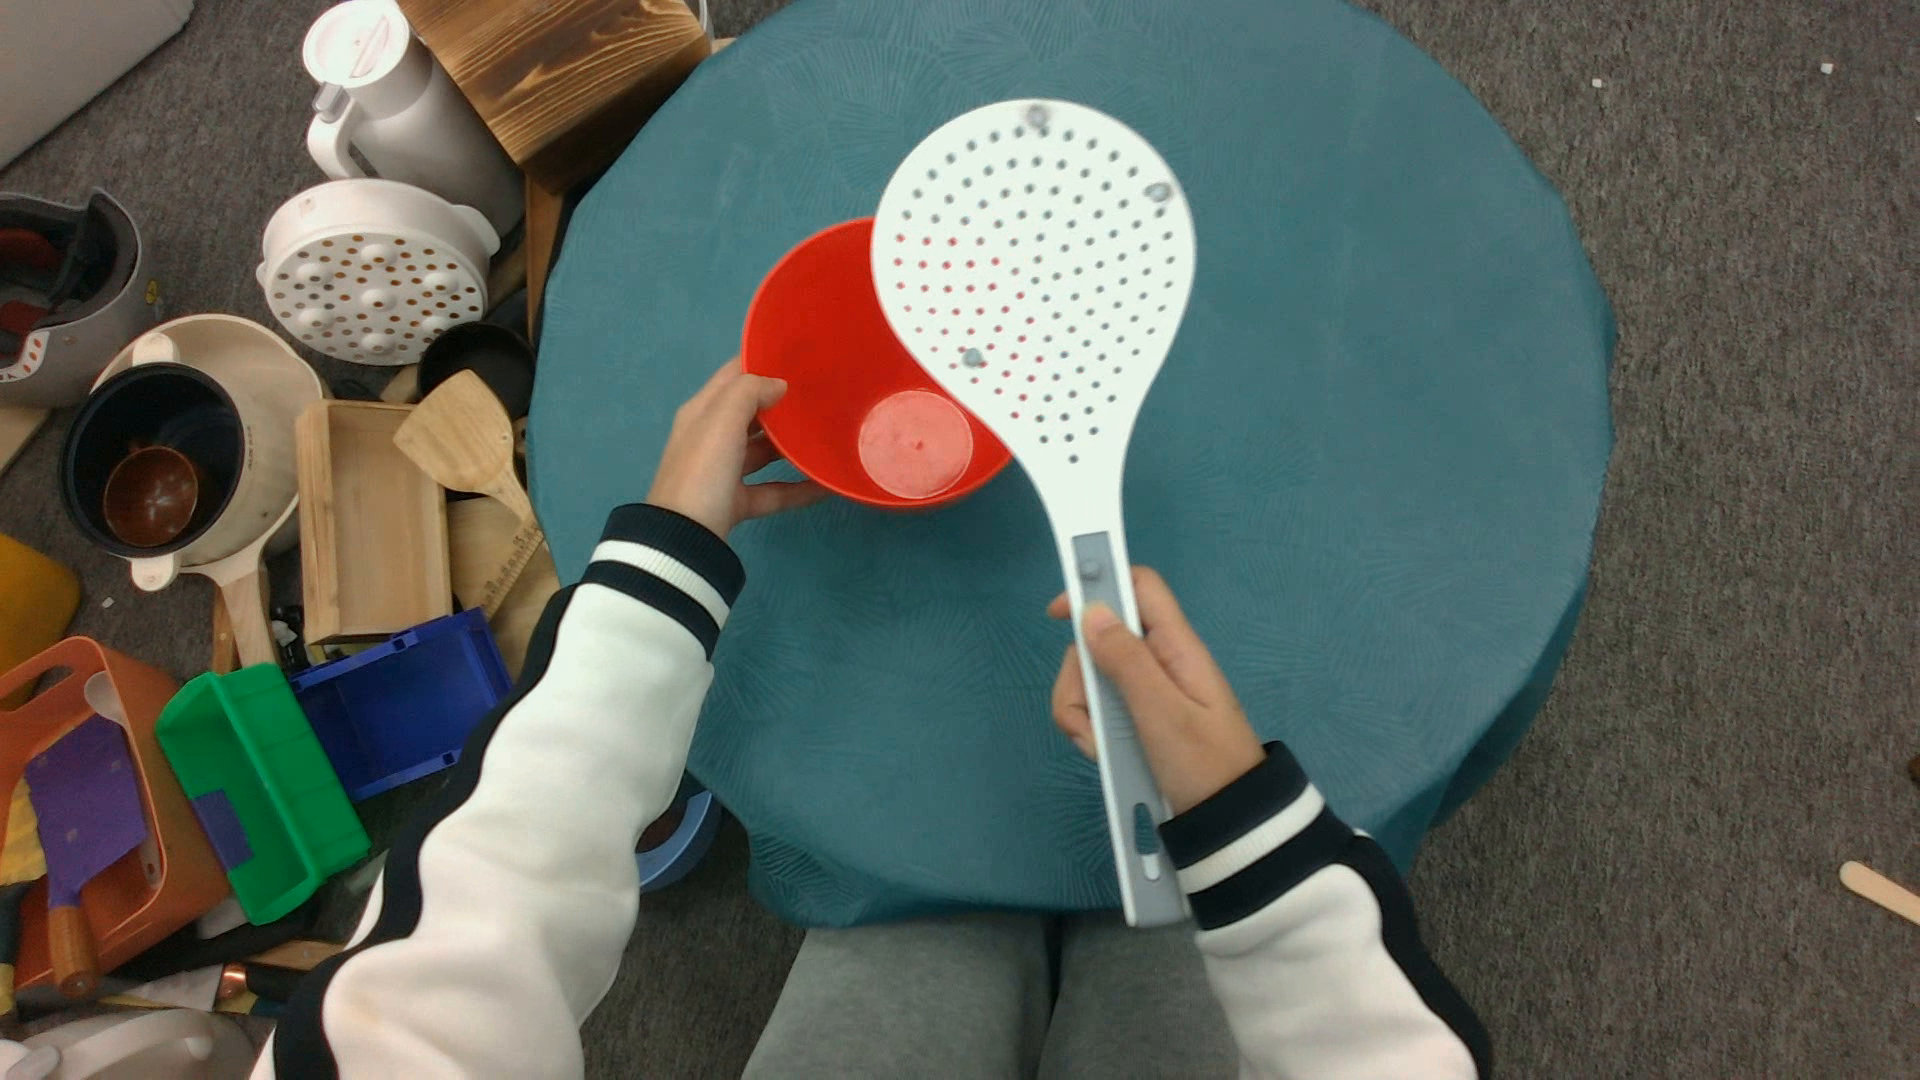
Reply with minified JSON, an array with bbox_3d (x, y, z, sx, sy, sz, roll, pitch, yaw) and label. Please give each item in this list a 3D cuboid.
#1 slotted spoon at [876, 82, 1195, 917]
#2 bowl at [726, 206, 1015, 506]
[{"bbox_3d":[0.048,-0.023,0.574,0.136,0.045,0.350,-9,76,3],"label":"slotted spoon"},{"bbox_3d":[-0.041,-0.081,0.705,0.148,0.104,0.148,1,70,-3],"label":"bowl"}]
